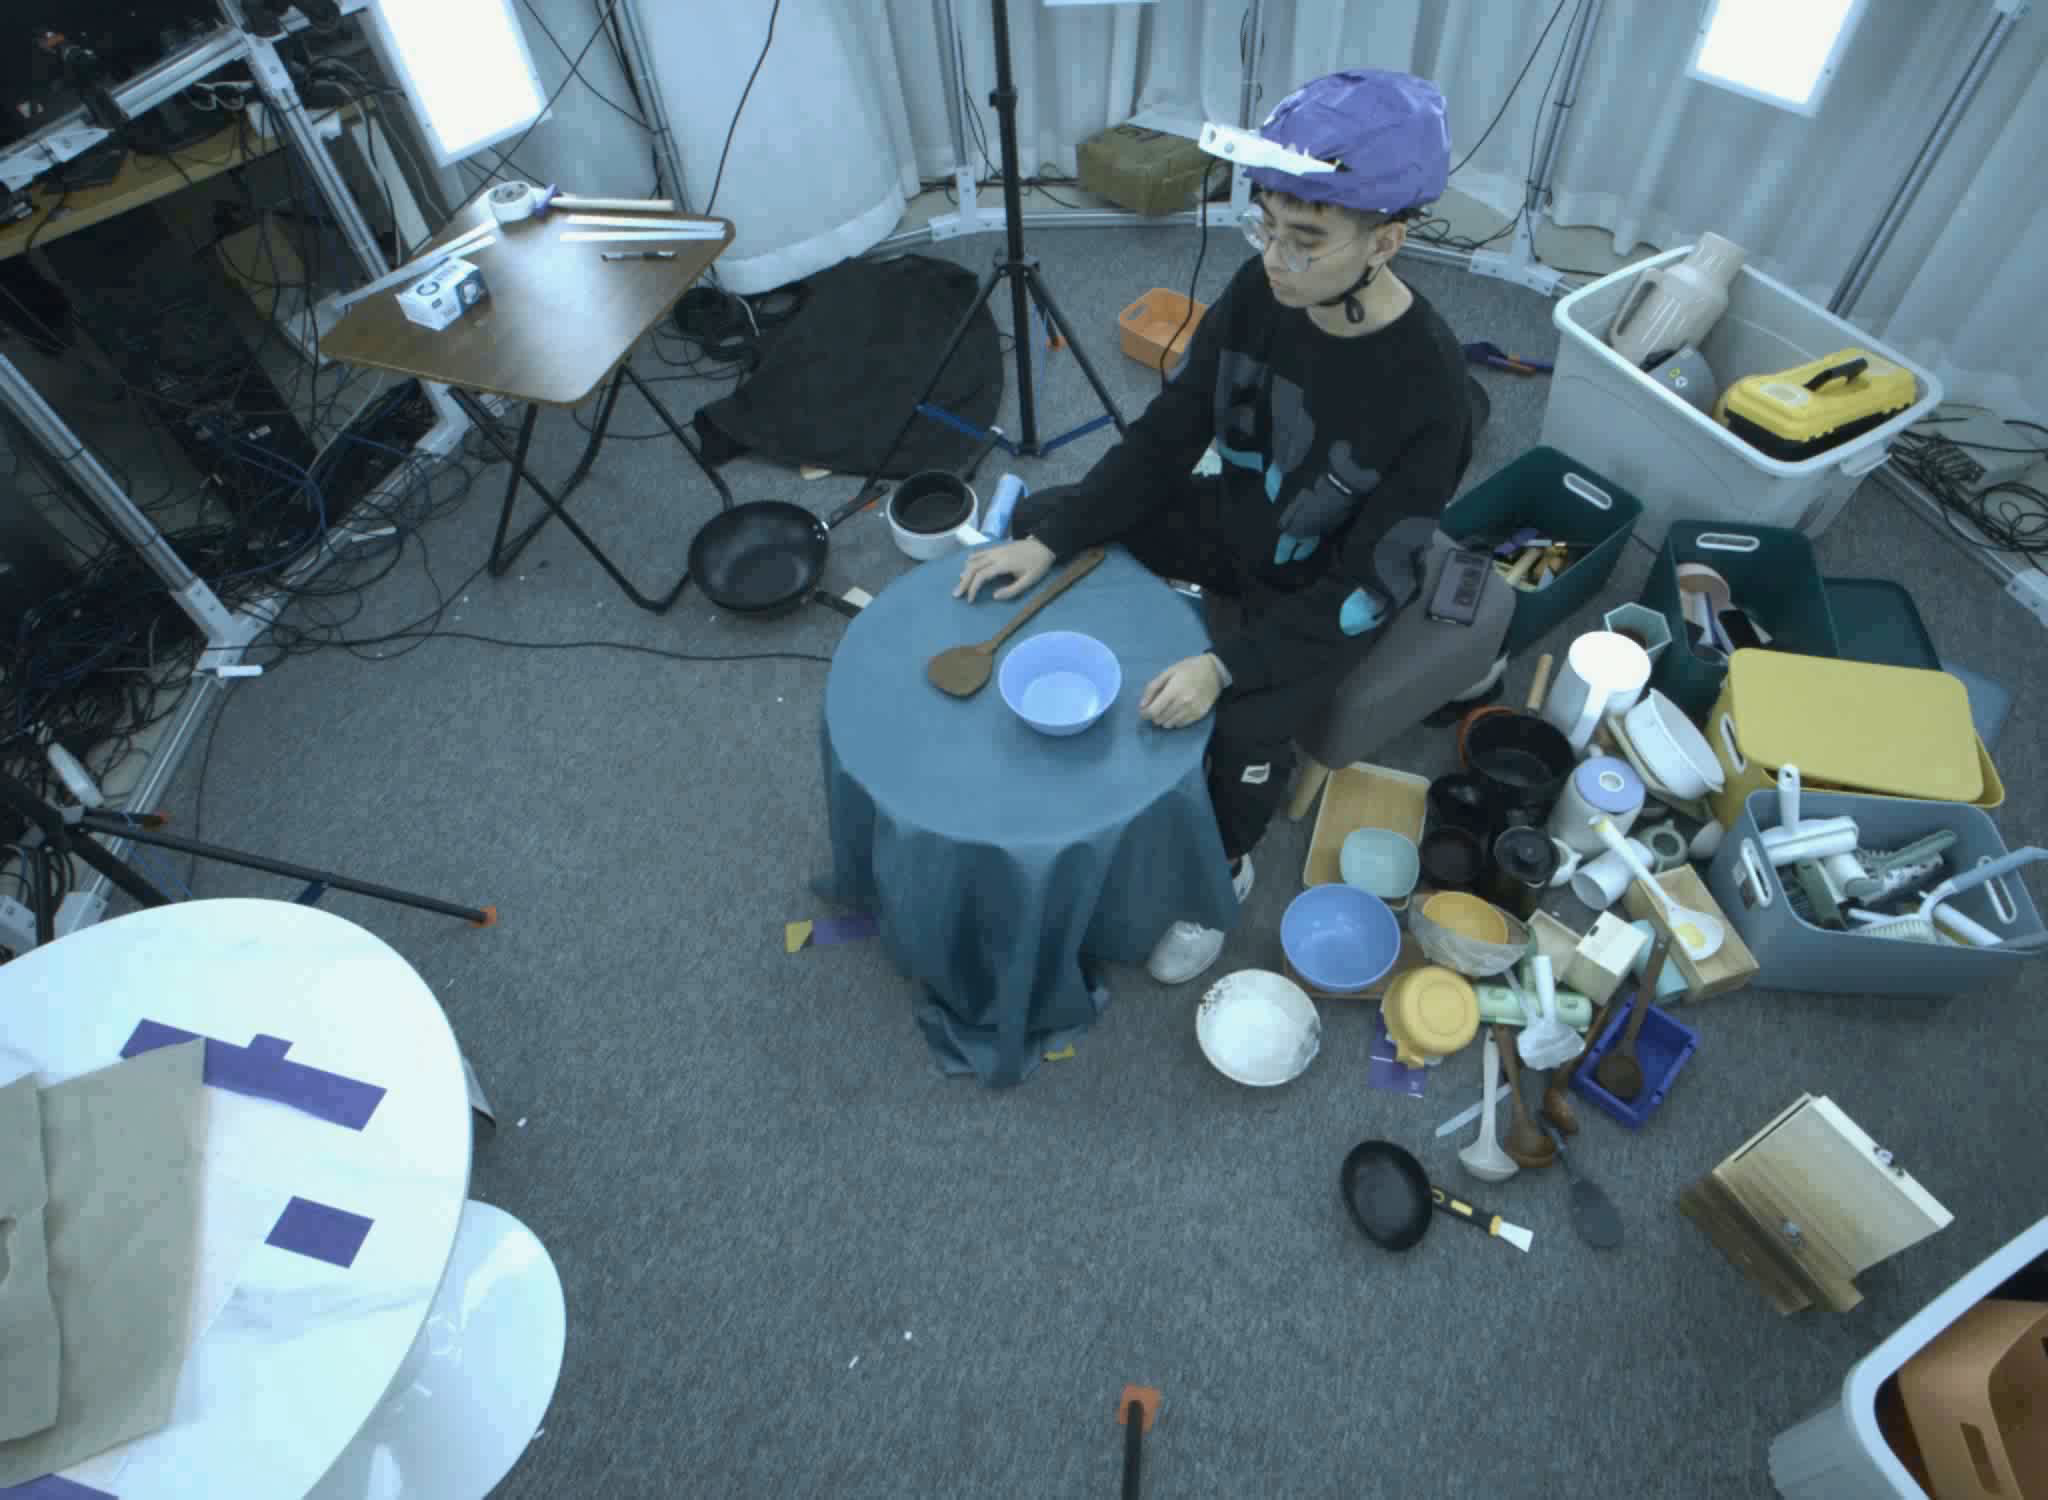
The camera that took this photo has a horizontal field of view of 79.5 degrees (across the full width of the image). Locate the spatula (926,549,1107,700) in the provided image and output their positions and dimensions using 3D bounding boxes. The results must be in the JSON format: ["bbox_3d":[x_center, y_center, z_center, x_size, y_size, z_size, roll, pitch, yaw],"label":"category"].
[{"bbox_3d":[0.003,-0.209,1.936,0.094,0.016,0.388,36,63,23],"label":"spatula"}]

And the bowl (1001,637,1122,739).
[{"bbox_3d":[0.055,-0.081,1.811,0.176,0.071,0.174,0,54,1],"label":"bowl"}]
